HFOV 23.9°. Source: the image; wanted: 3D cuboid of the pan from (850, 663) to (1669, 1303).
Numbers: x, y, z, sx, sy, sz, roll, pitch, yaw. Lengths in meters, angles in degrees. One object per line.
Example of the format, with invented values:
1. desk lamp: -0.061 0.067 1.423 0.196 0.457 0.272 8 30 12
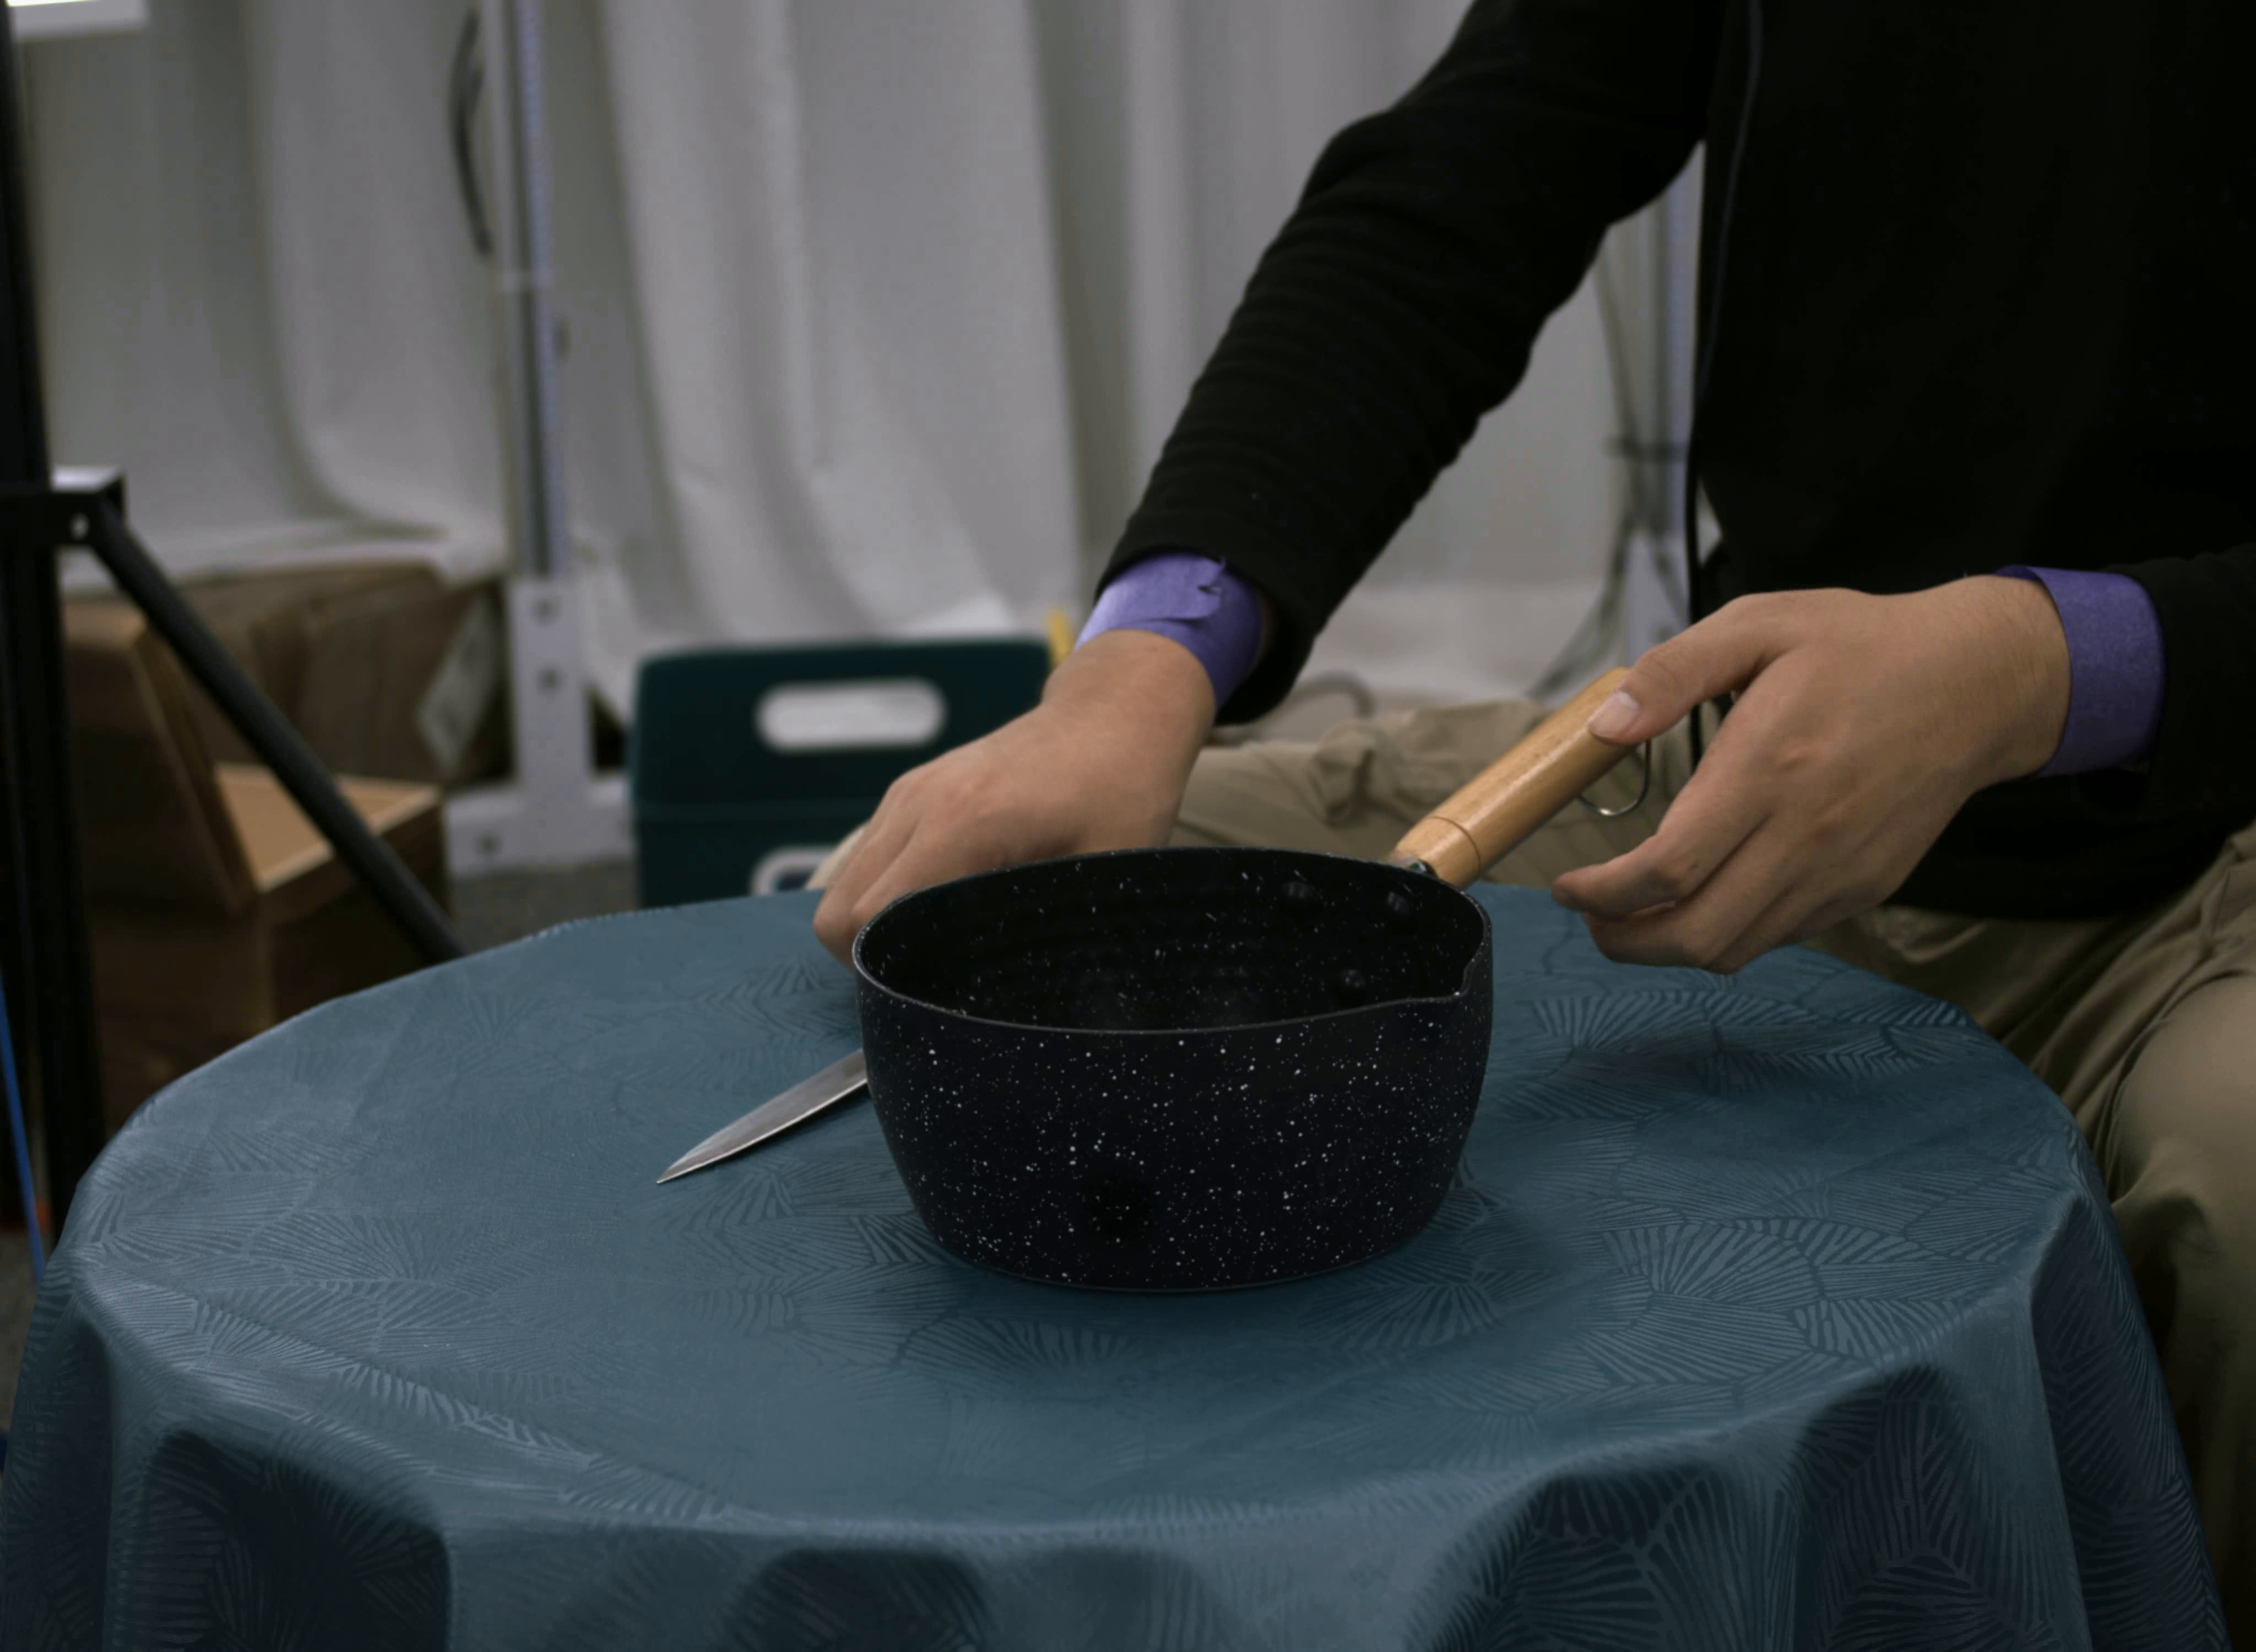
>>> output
1. pan: 0.061 0.042 1.585 0.212 0.108 0.336 9 21 37

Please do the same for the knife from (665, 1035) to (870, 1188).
1. knife: -0.077 0.072 1.675 0.025 0.016 0.234 5 20 33
